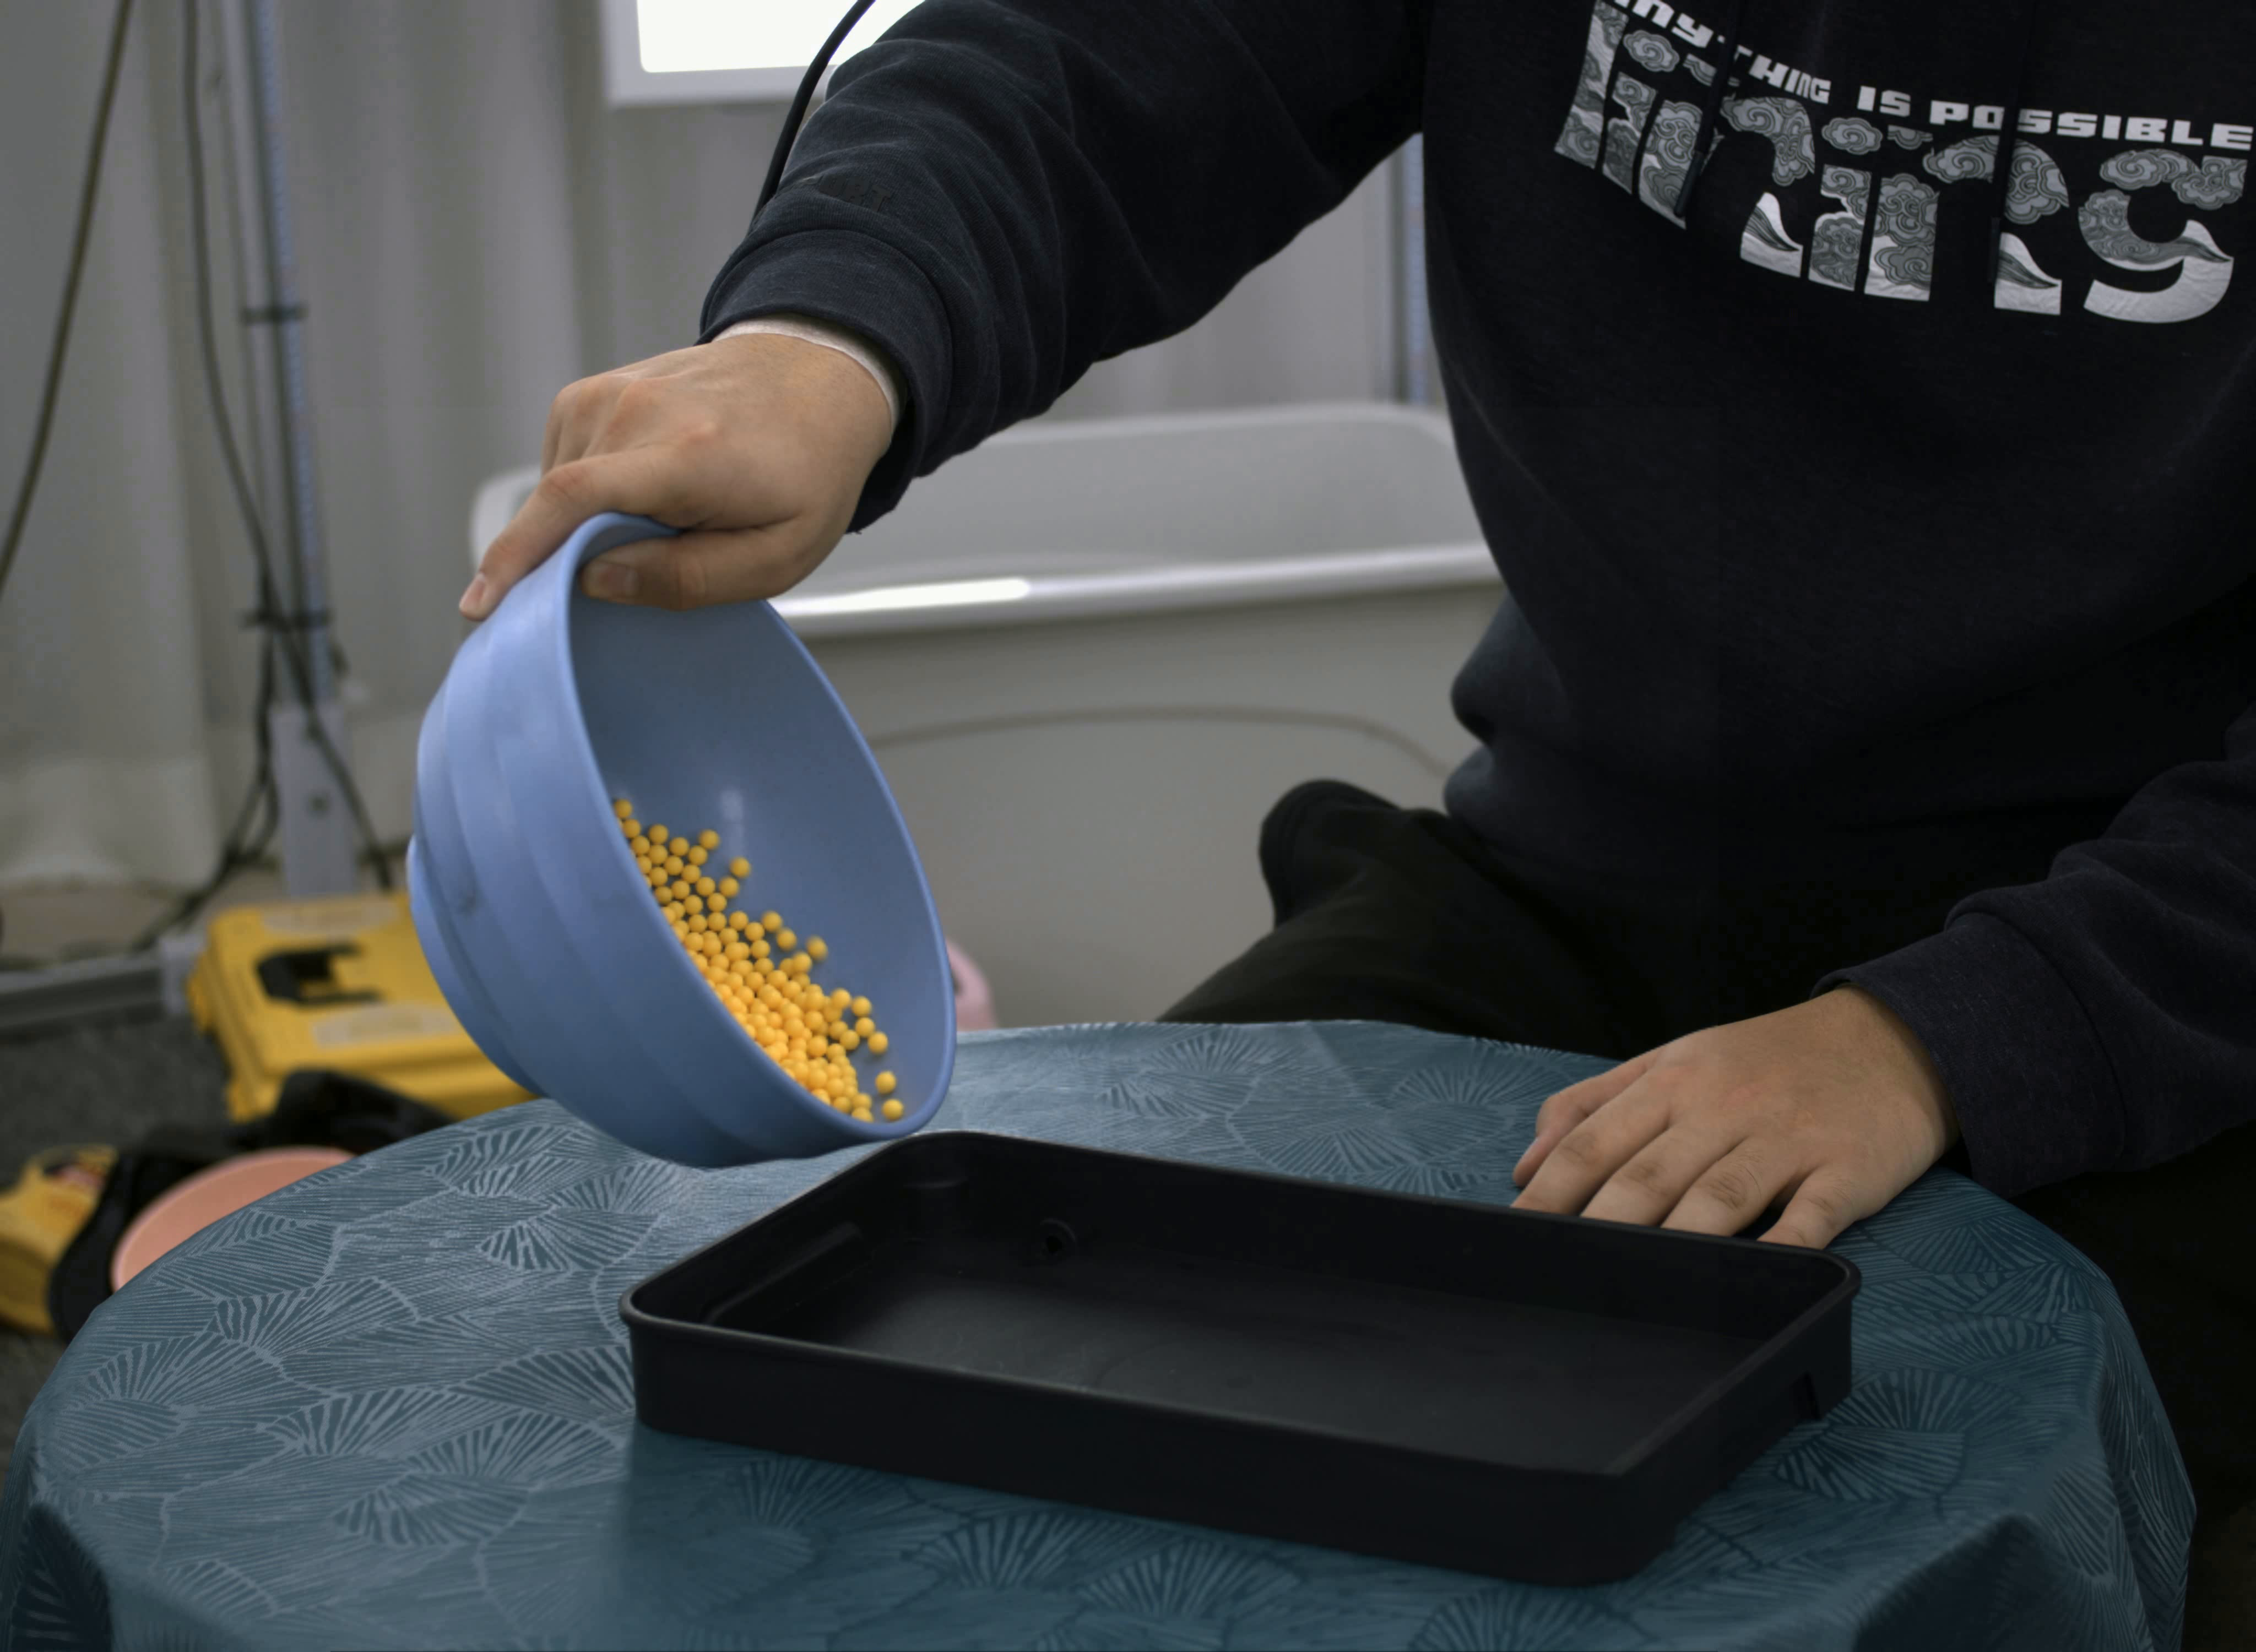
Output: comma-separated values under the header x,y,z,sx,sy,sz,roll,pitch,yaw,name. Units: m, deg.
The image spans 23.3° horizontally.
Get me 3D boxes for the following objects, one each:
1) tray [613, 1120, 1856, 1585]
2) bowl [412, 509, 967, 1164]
x,y,z,sx,sy,sz,roll,pitch,yaw,name
0.029,0.143,1.533,0.319,0.037,0.184,6,17,29,tray
-0.140,0.017,1.567,0.095,0.196,0.197,-28,5,21,bowl
